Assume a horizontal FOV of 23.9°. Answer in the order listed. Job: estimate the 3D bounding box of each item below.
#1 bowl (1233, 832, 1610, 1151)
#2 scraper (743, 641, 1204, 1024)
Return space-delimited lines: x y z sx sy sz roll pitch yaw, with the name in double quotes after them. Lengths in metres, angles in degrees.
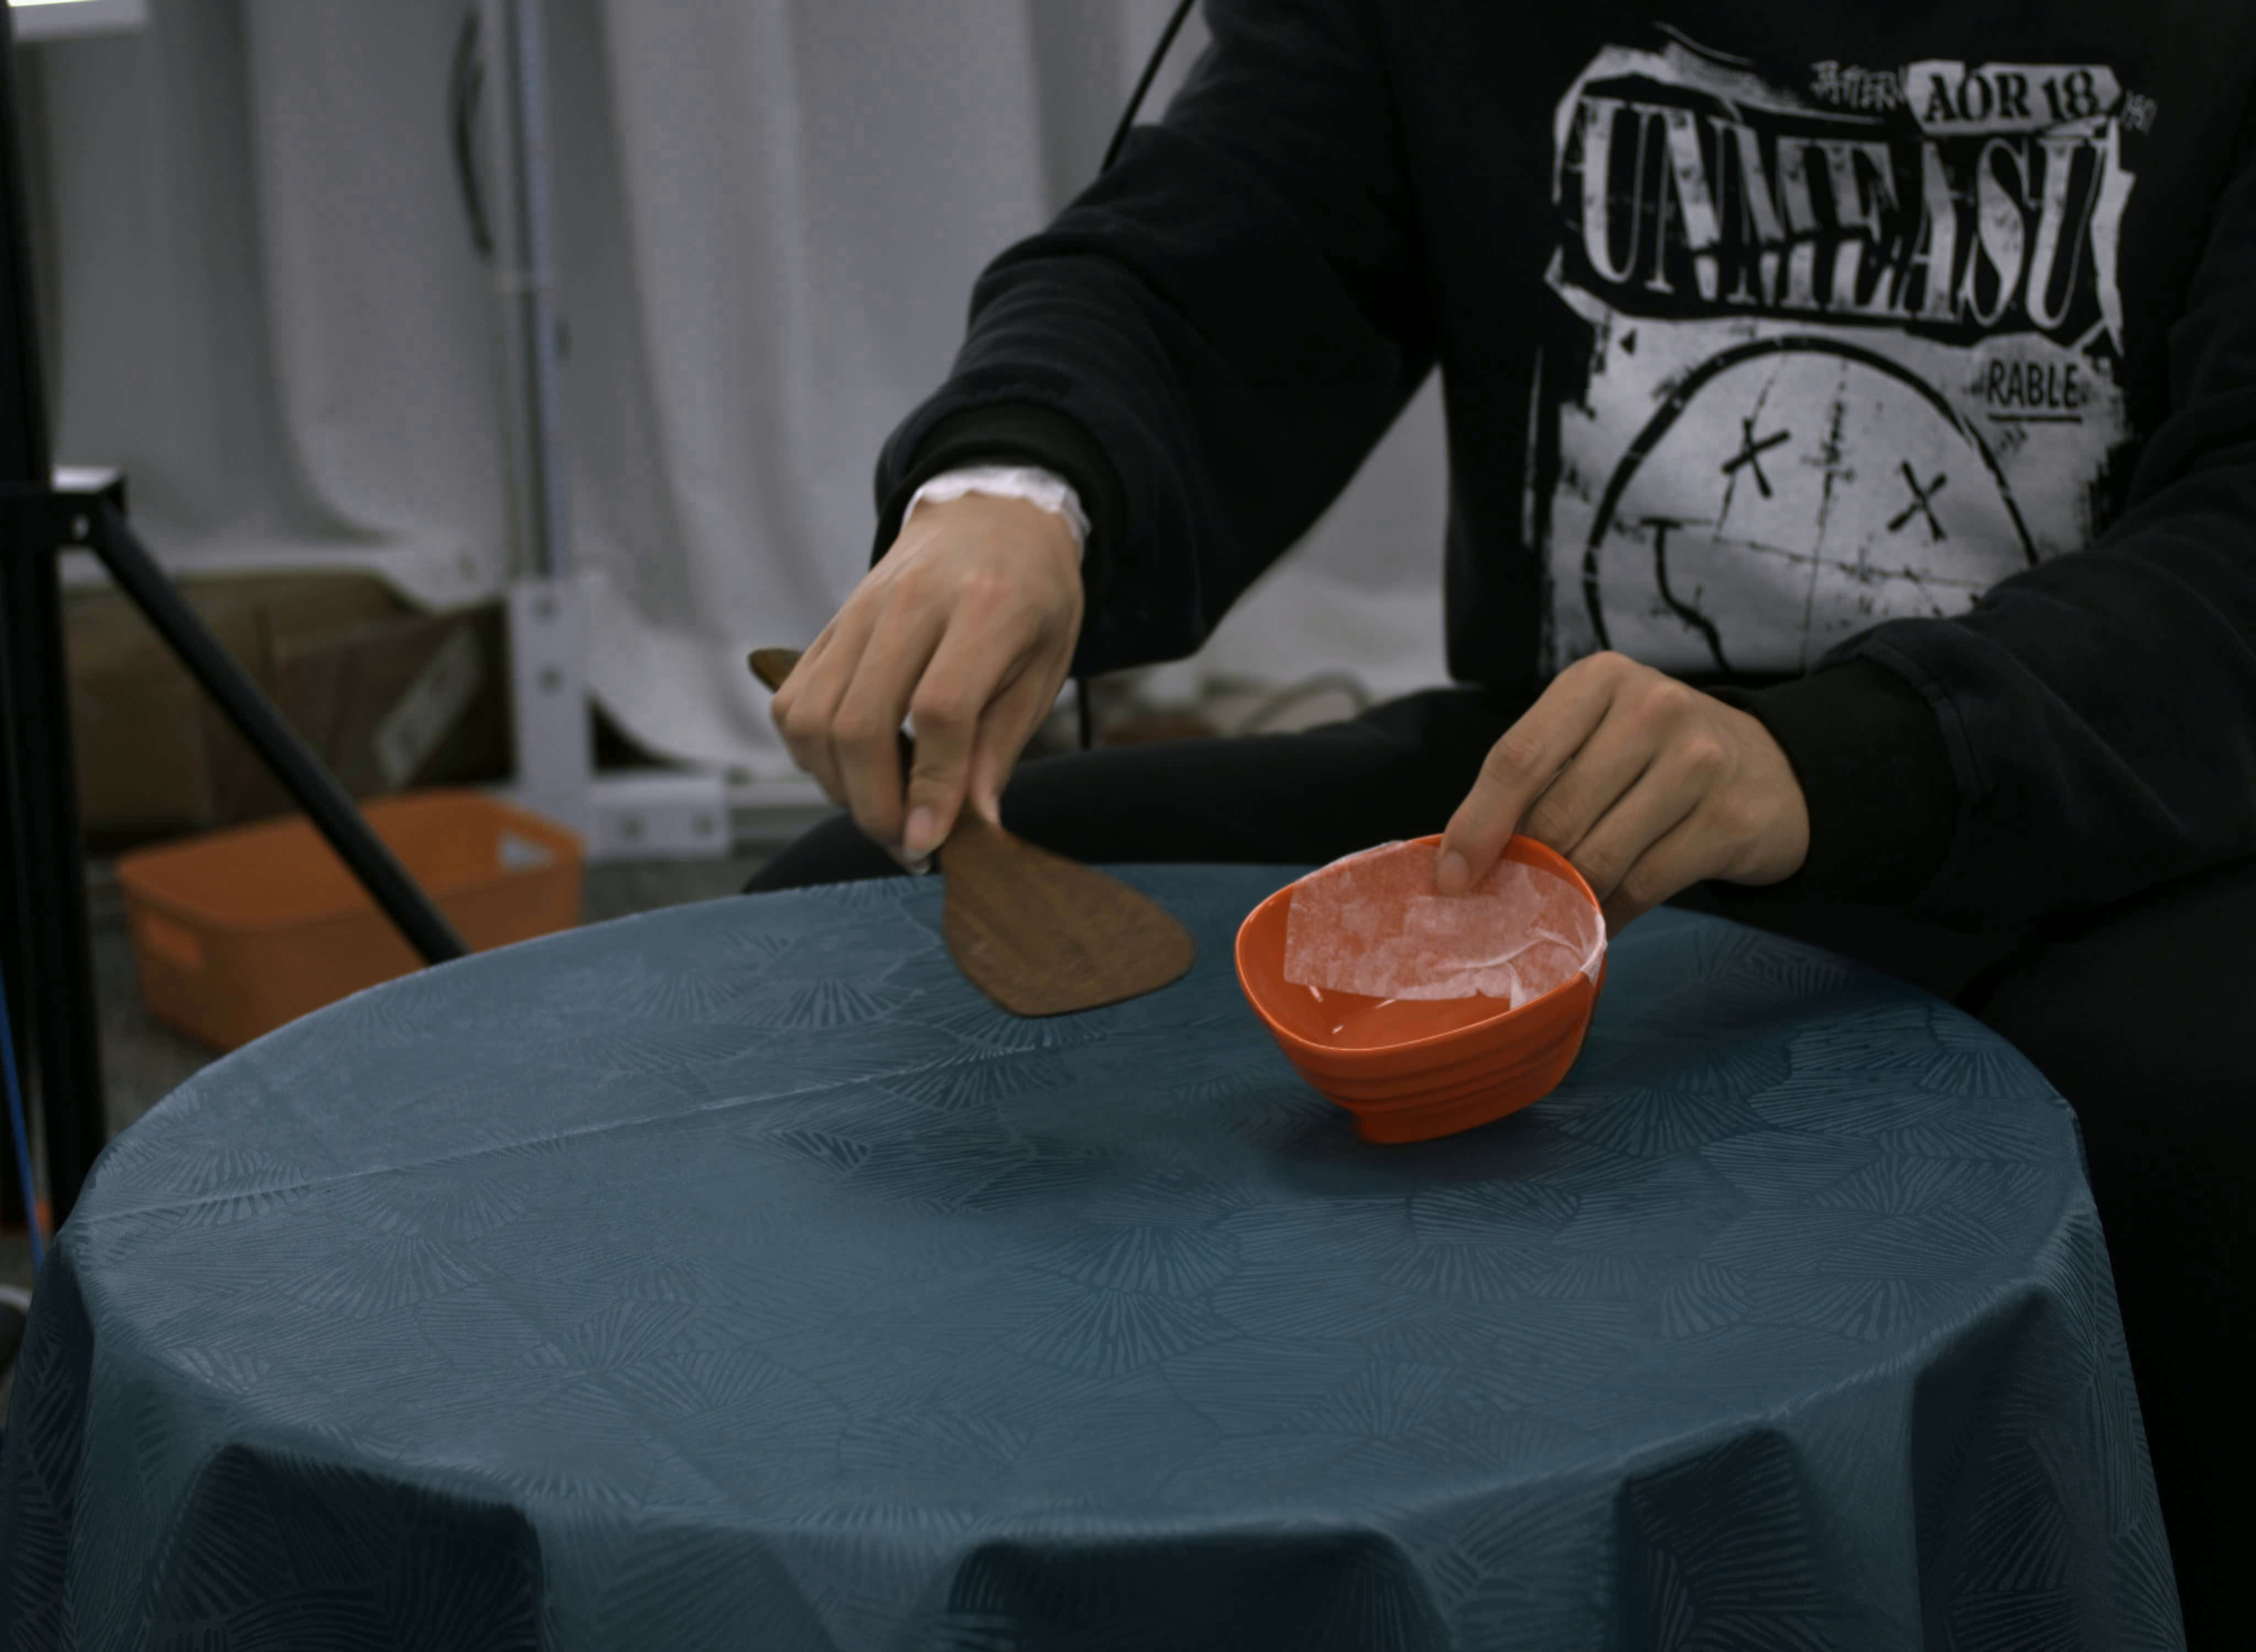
0.092 0.055 1.602 0.119 0.051 0.120 -12 31 6 "bowl"
-0.058 0.000 1.629 0.074 0.011 0.216 -12 38 -30 "scraper"
